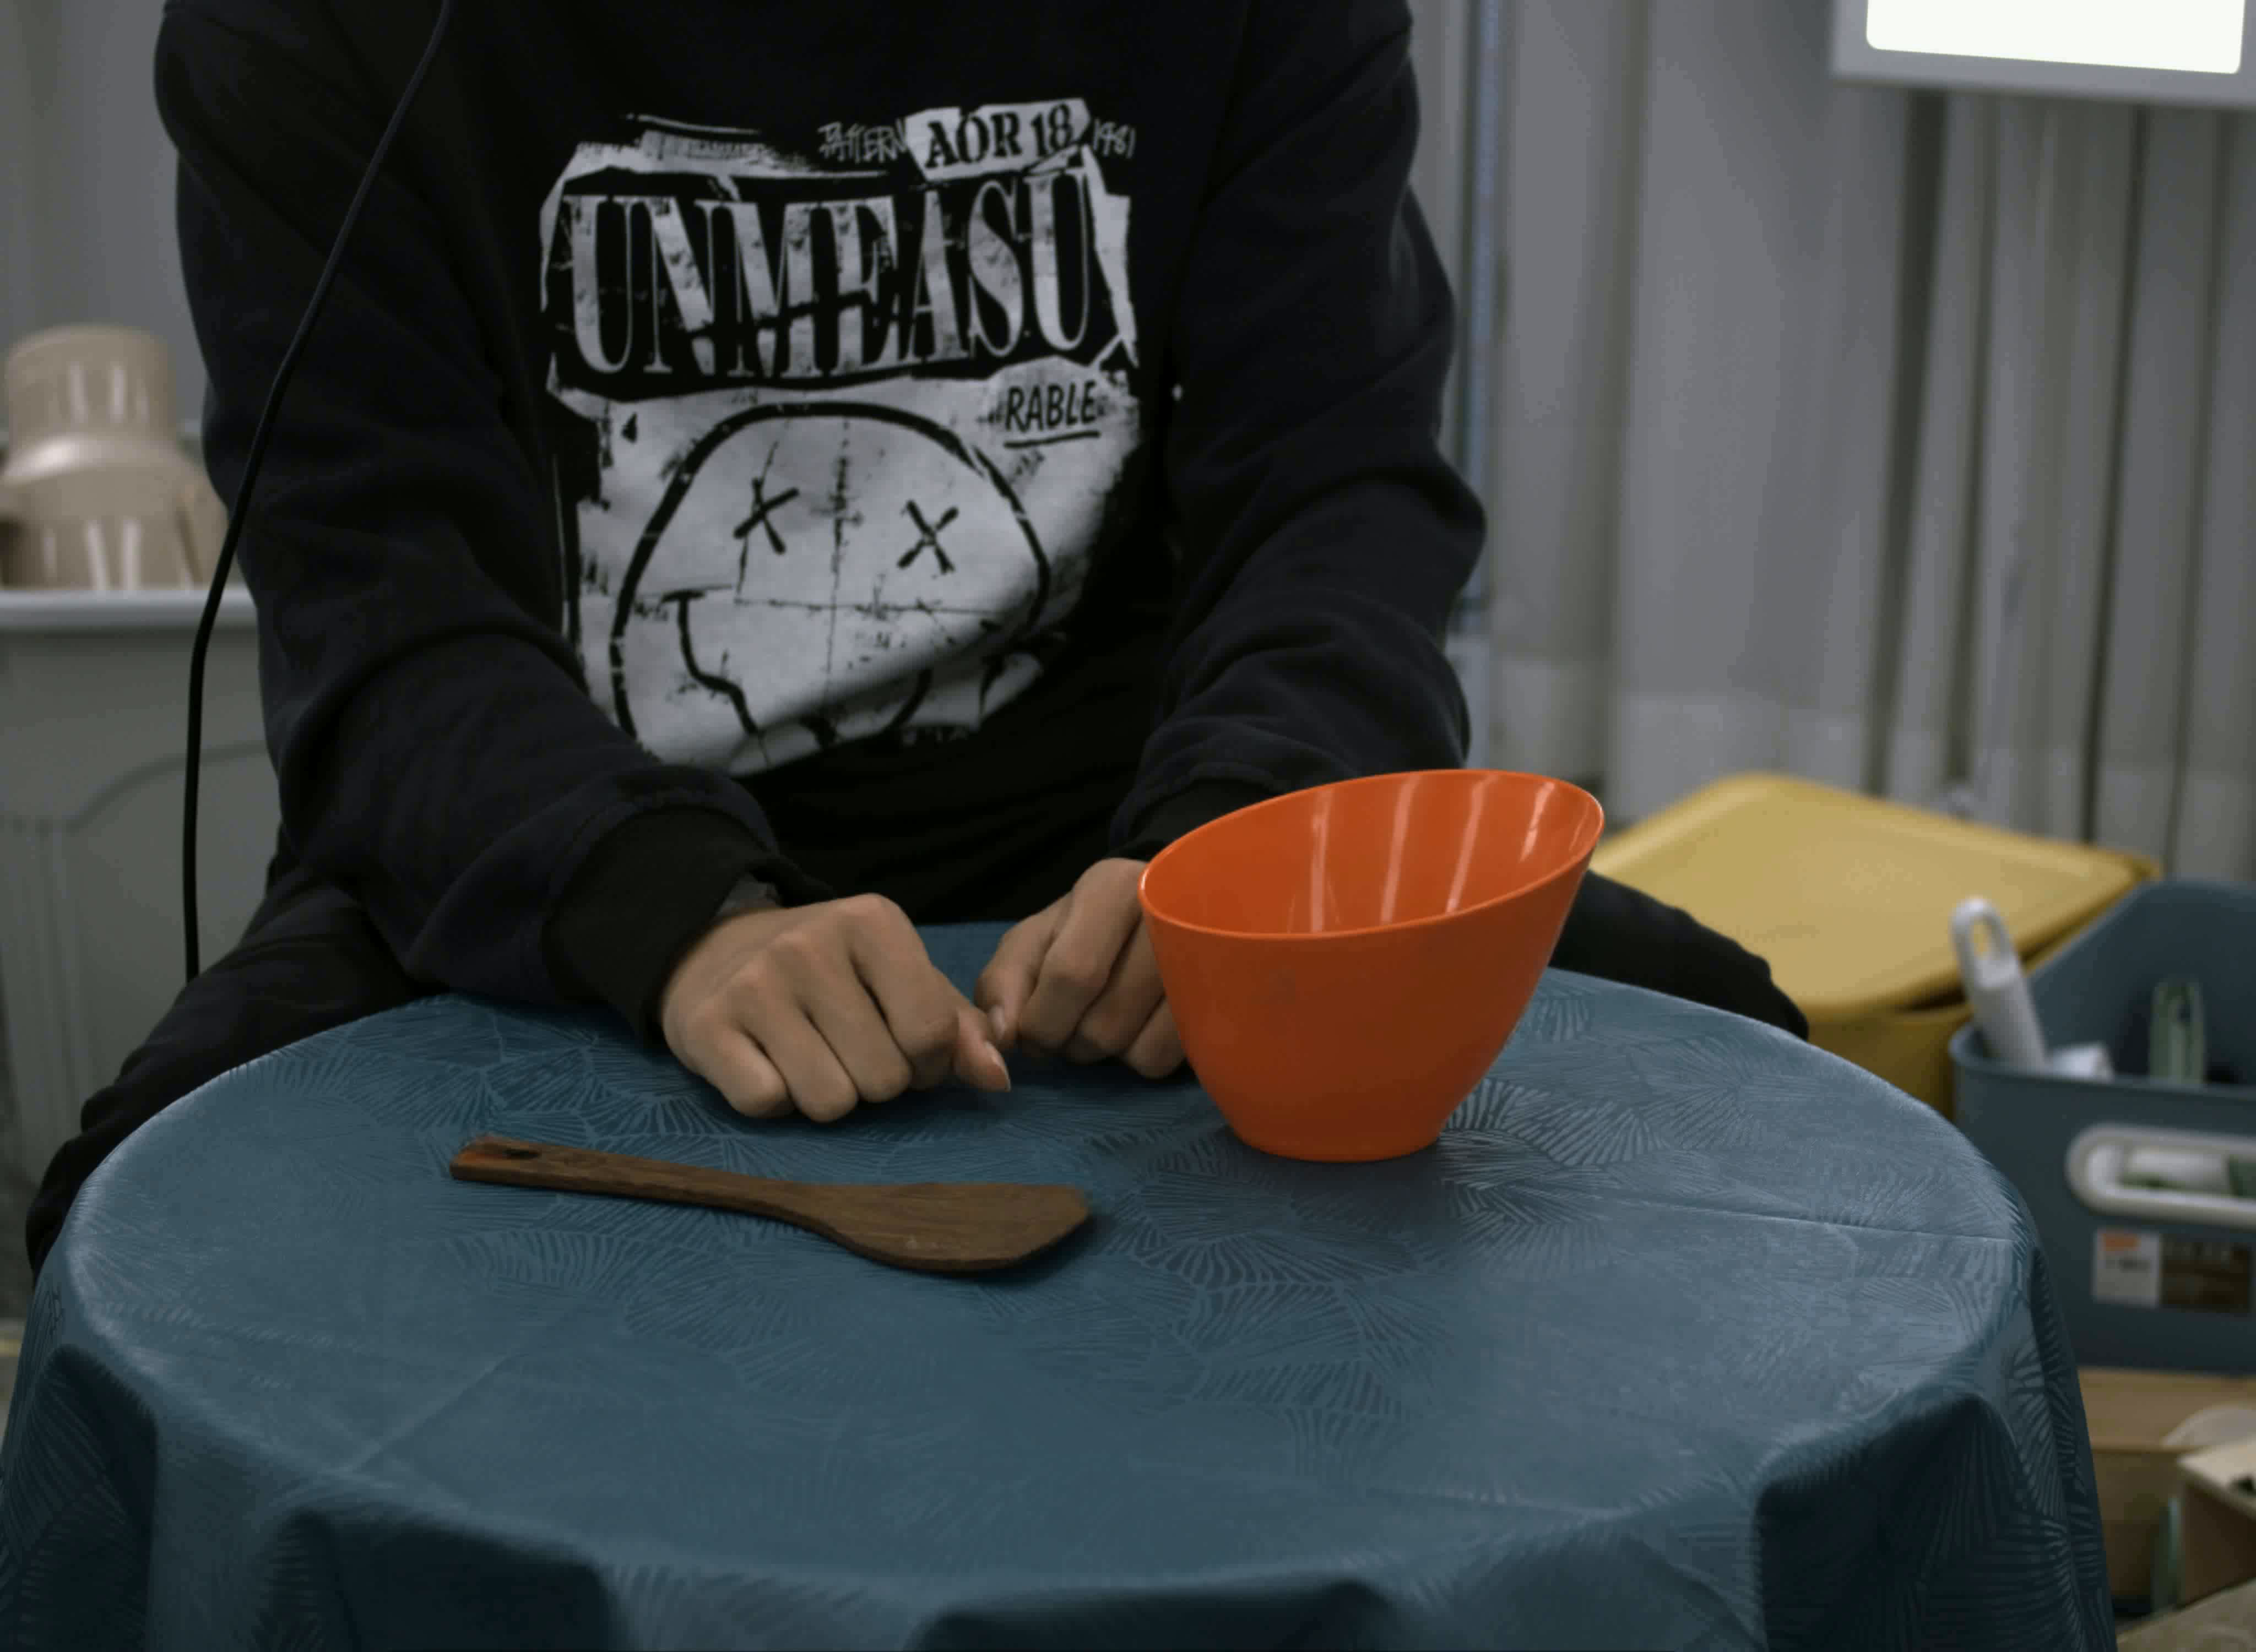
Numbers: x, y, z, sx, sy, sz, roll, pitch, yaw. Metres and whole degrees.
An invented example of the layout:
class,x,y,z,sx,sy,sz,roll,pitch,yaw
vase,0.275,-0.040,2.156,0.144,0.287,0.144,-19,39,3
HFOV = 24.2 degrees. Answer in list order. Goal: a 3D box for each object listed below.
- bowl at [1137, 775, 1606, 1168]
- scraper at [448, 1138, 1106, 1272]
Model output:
class,x,y,z,sx,sy,sz,roll,pitch,yaw
bowl,0.076,0.048,1.671,0.147,0.105,0.147,1,17,0
scraper,-0.111,0.113,1.607,0.209,0.011,0.076,6,16,21
